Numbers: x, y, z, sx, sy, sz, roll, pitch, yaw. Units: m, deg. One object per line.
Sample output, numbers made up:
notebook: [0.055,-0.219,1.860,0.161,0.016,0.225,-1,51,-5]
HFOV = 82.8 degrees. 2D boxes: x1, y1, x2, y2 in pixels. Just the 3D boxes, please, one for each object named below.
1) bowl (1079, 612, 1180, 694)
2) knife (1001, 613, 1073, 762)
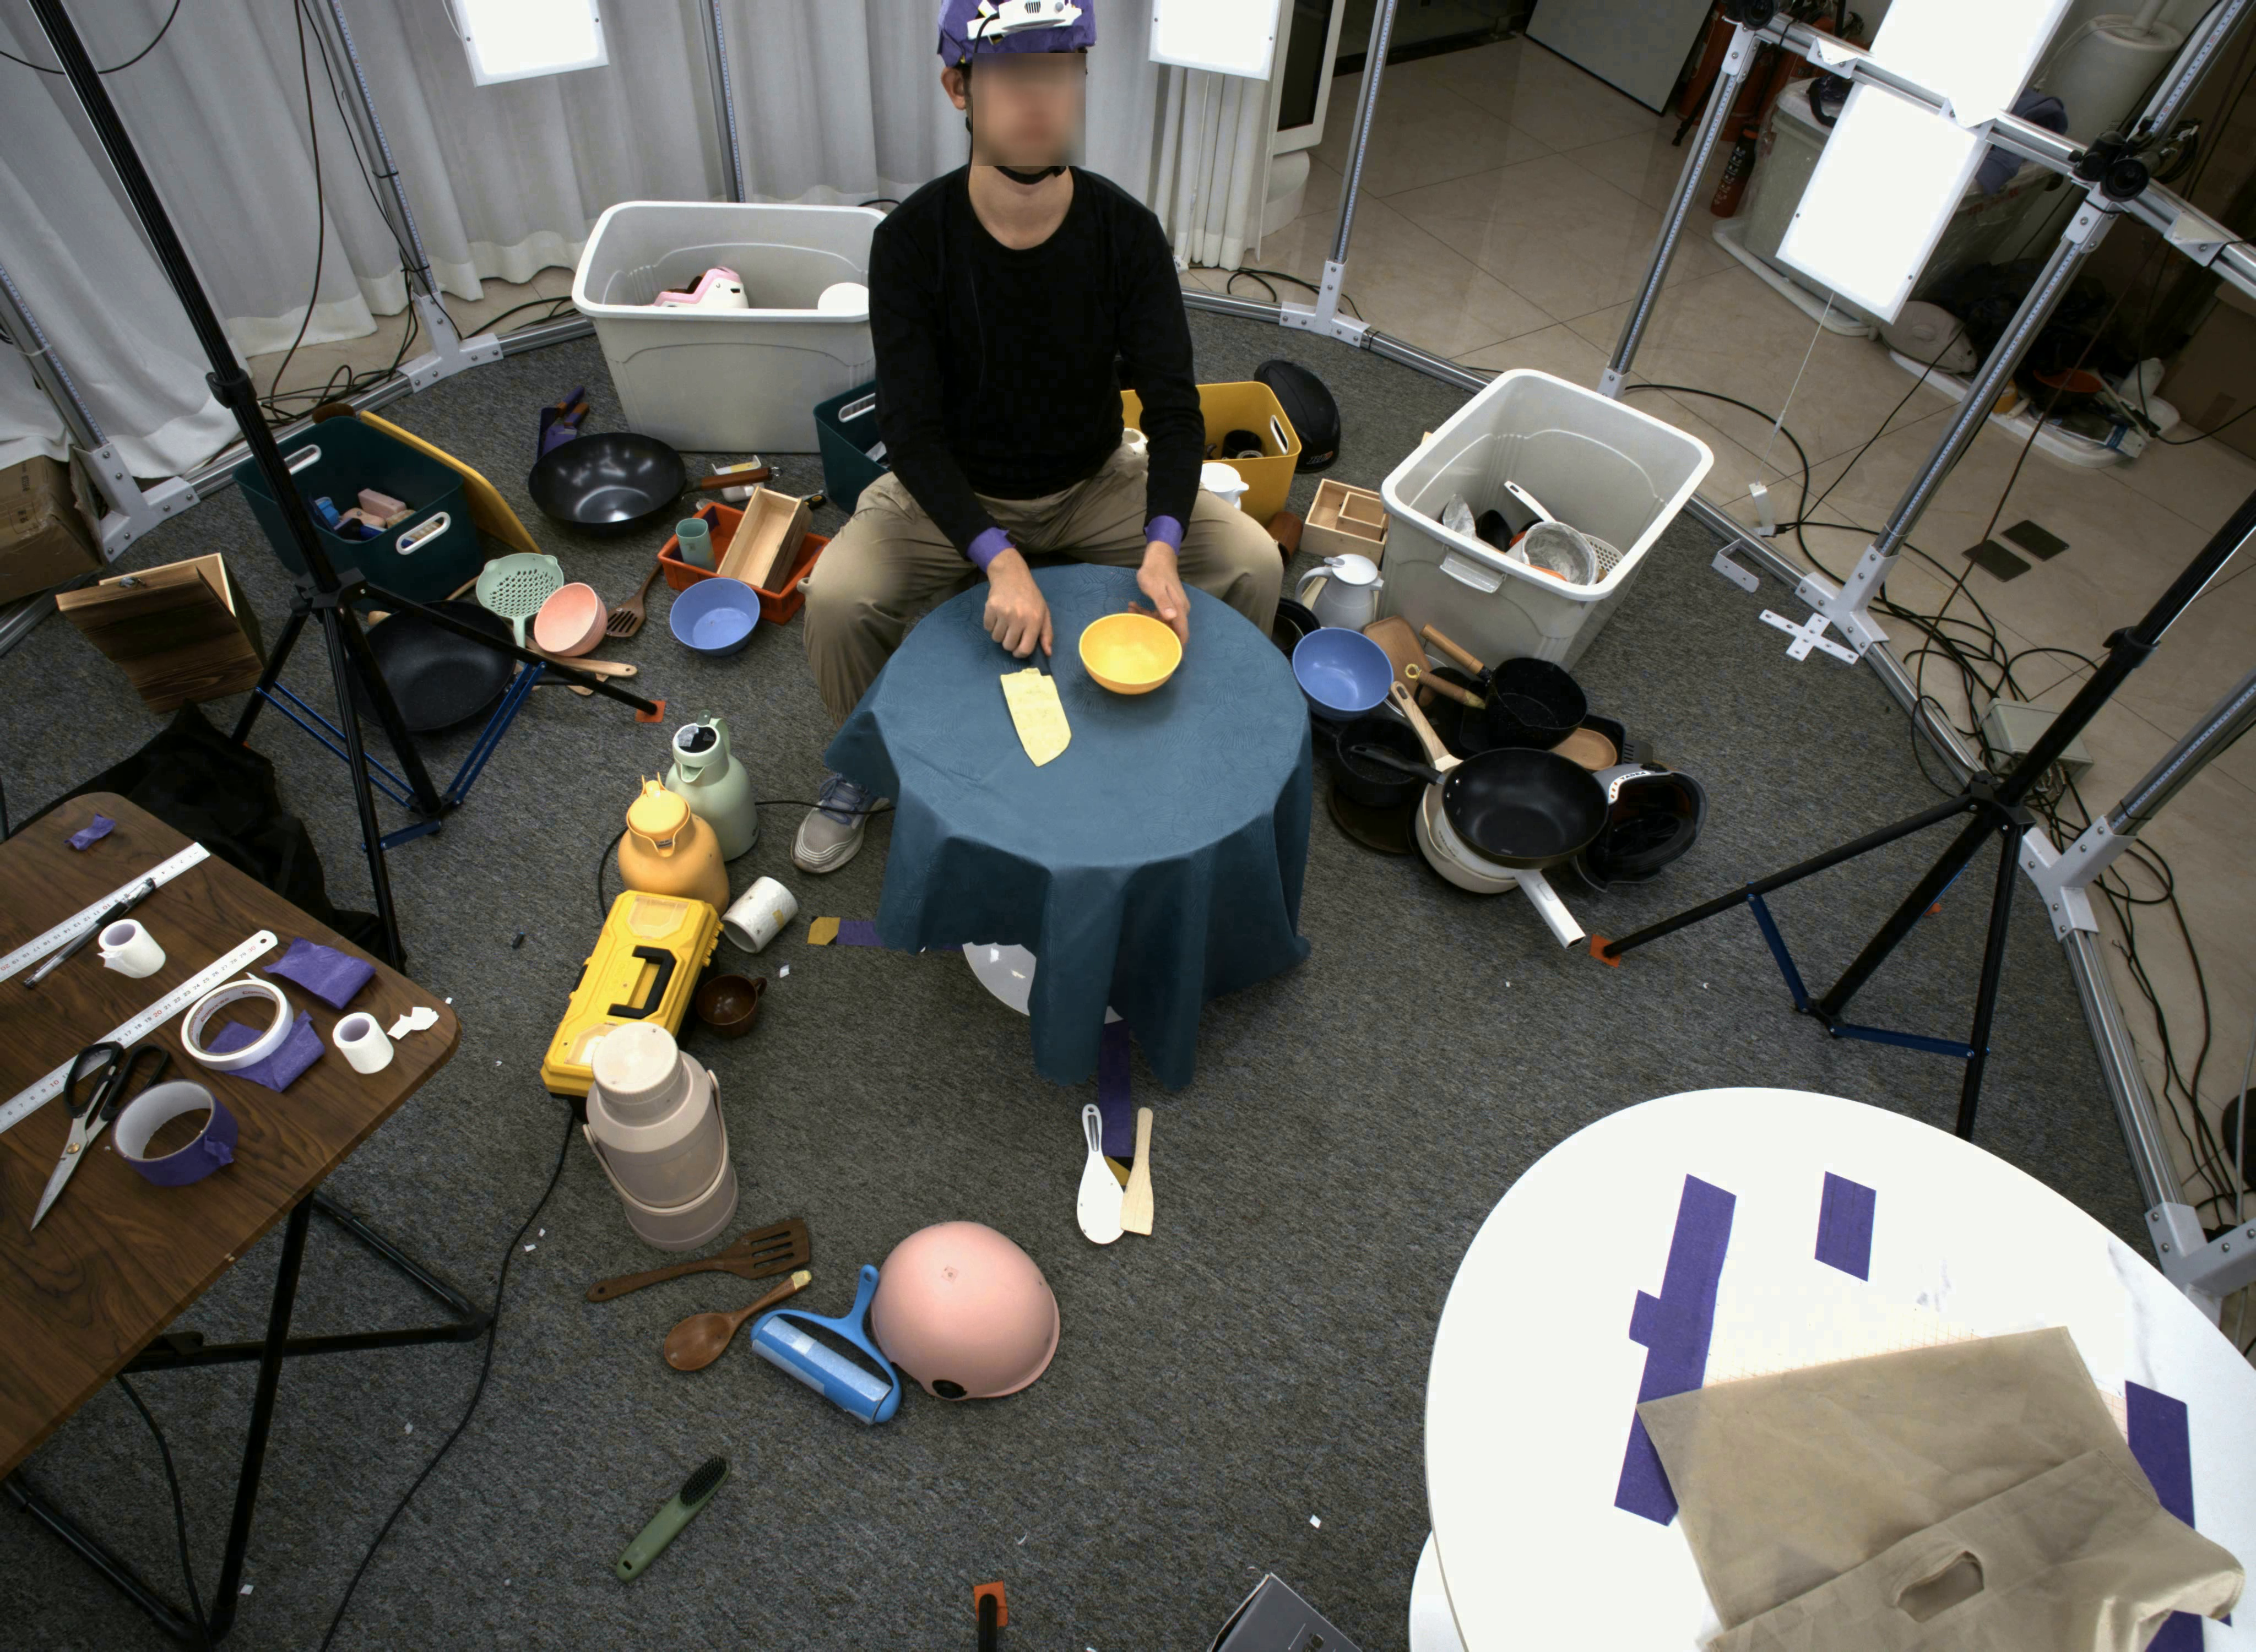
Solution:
bowl: [0.000,-0.236,1.835,0.145,0.059,0.149,3,50,-4]
knife: [-0.138,-0.200,1.825,0.081,0.026,0.297,-6,51,-13]
